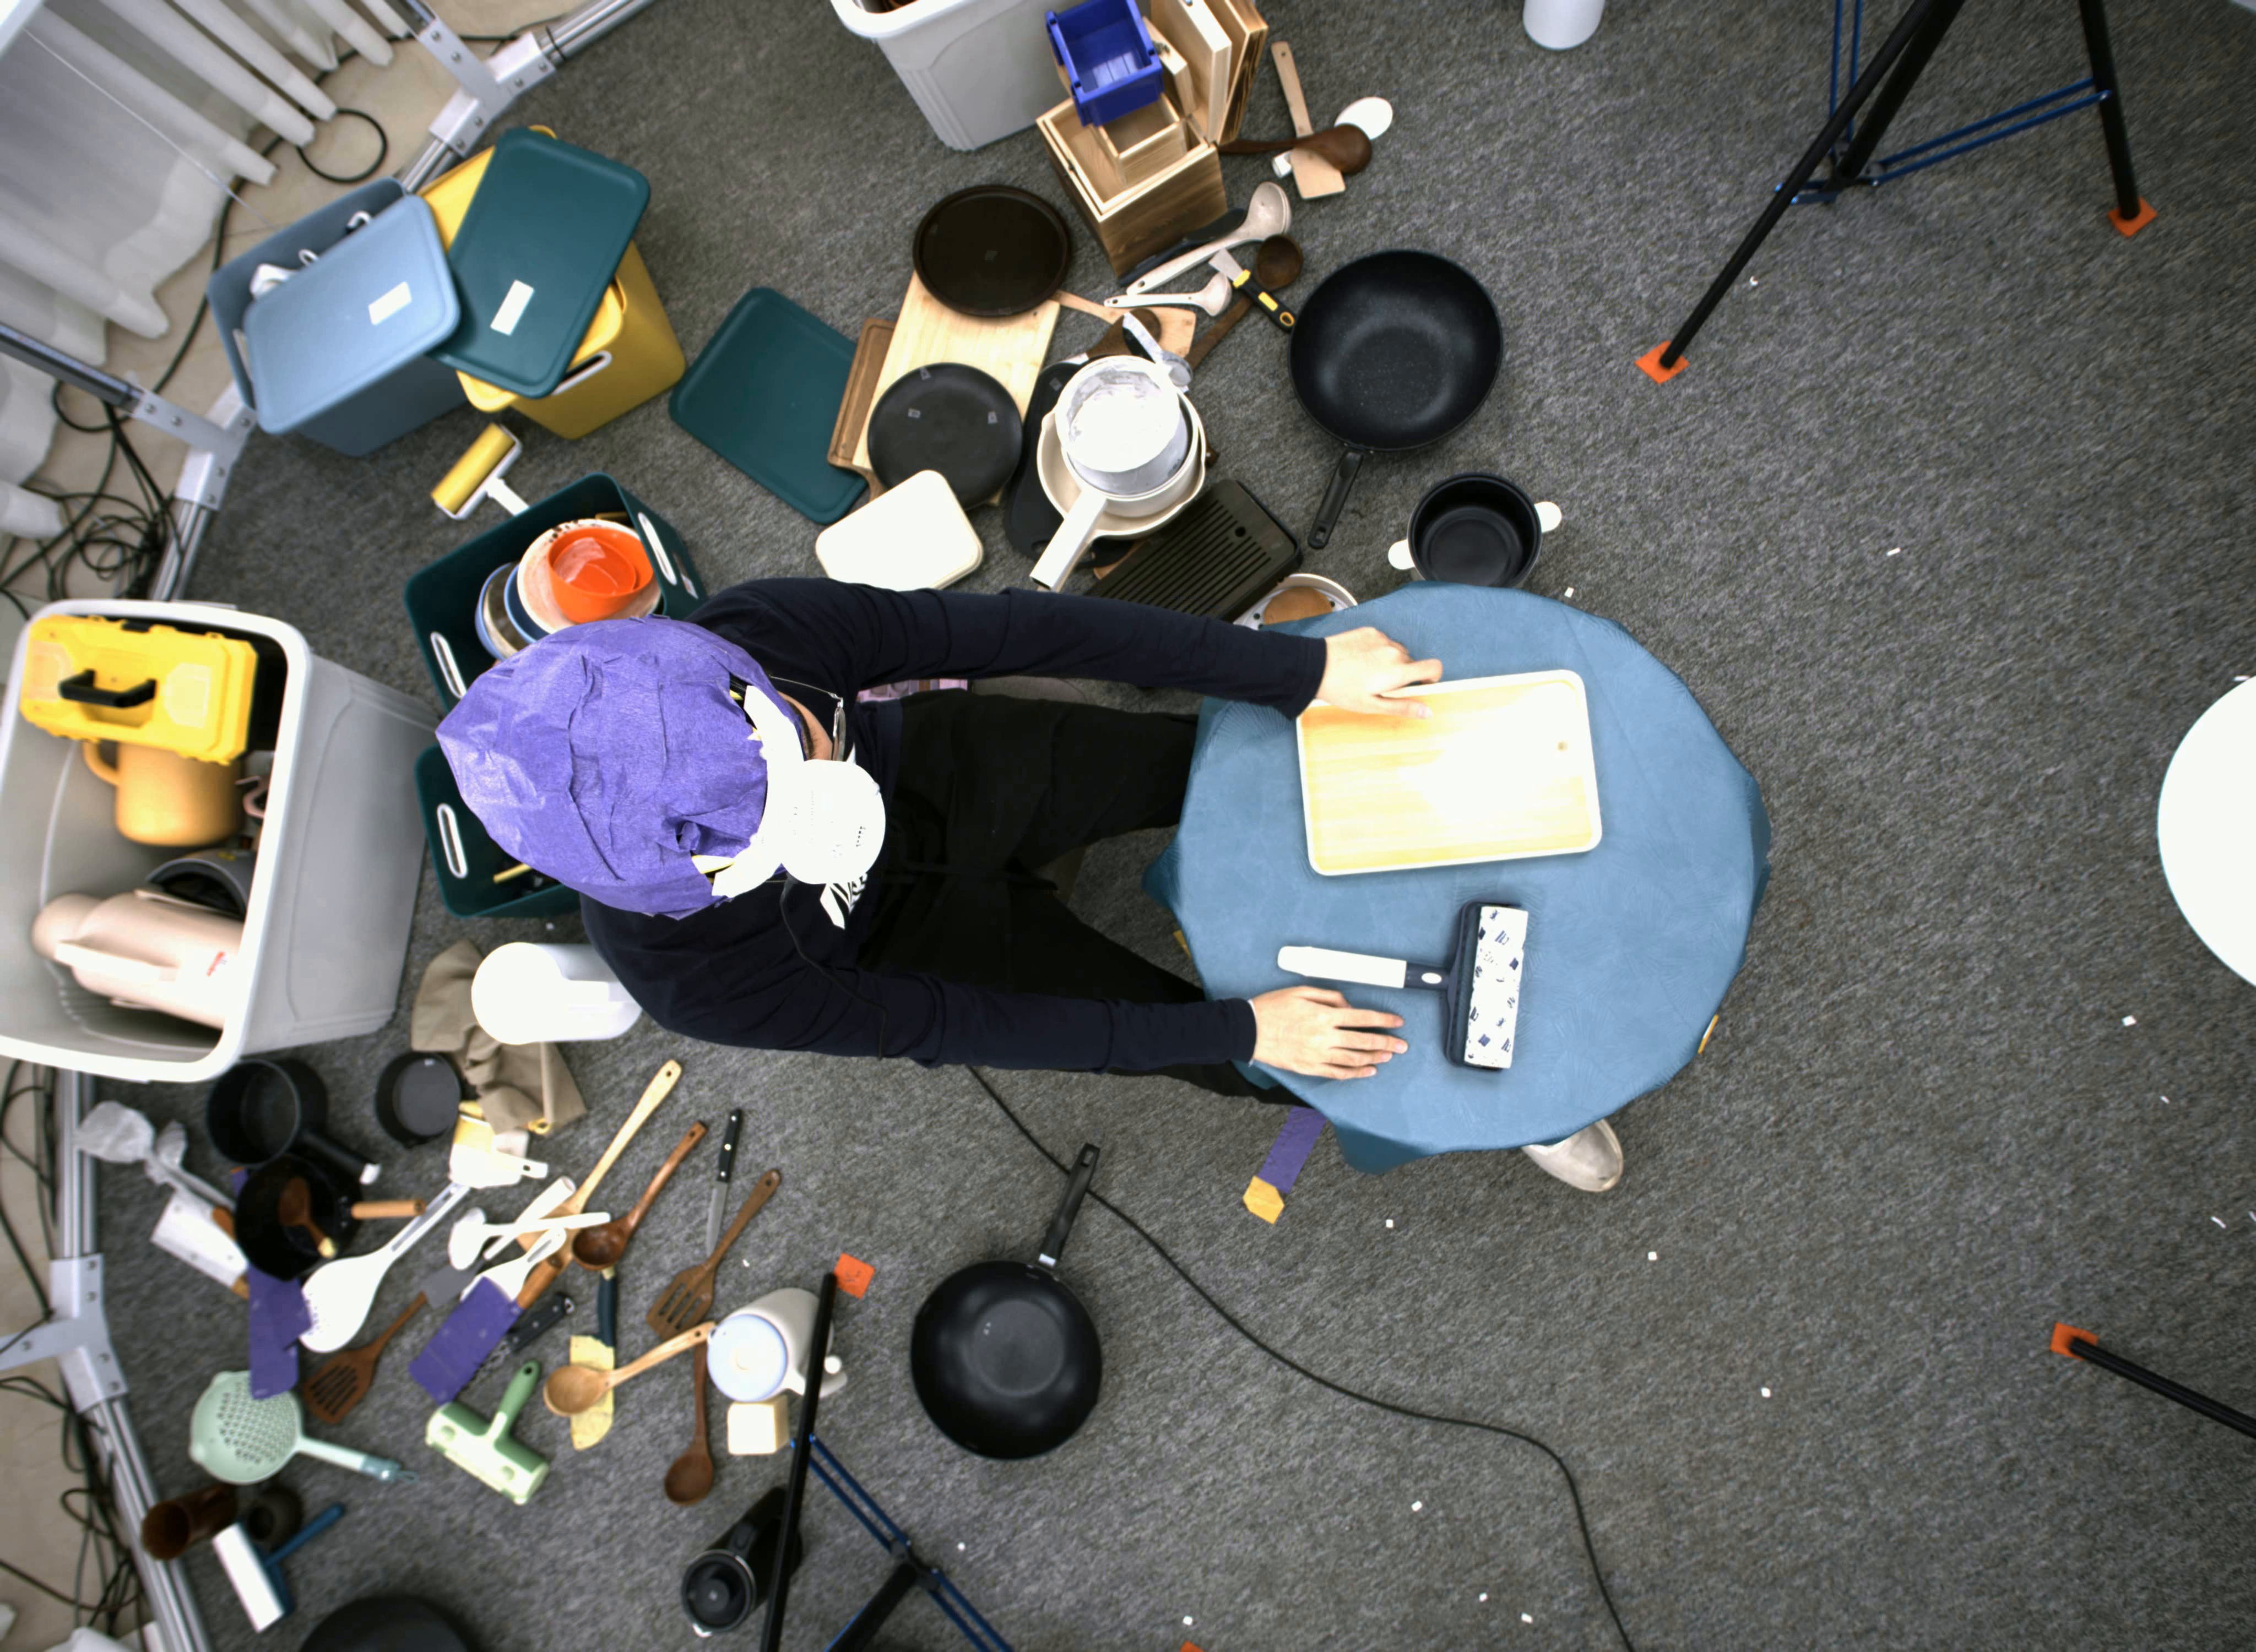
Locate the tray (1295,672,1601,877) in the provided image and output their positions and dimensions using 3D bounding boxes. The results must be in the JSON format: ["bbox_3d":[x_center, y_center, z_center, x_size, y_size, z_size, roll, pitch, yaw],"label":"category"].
[{"bbox_3d":[0.332,-0.054,1.441,0.301,0.027,0.191,-6,88,10],"label":"tray"}]

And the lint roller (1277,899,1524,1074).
[{"bbox_3d":[0.277,0.153,1.432,0.248,0.050,0.176,5,88,13],"label":"lint roller"}]
